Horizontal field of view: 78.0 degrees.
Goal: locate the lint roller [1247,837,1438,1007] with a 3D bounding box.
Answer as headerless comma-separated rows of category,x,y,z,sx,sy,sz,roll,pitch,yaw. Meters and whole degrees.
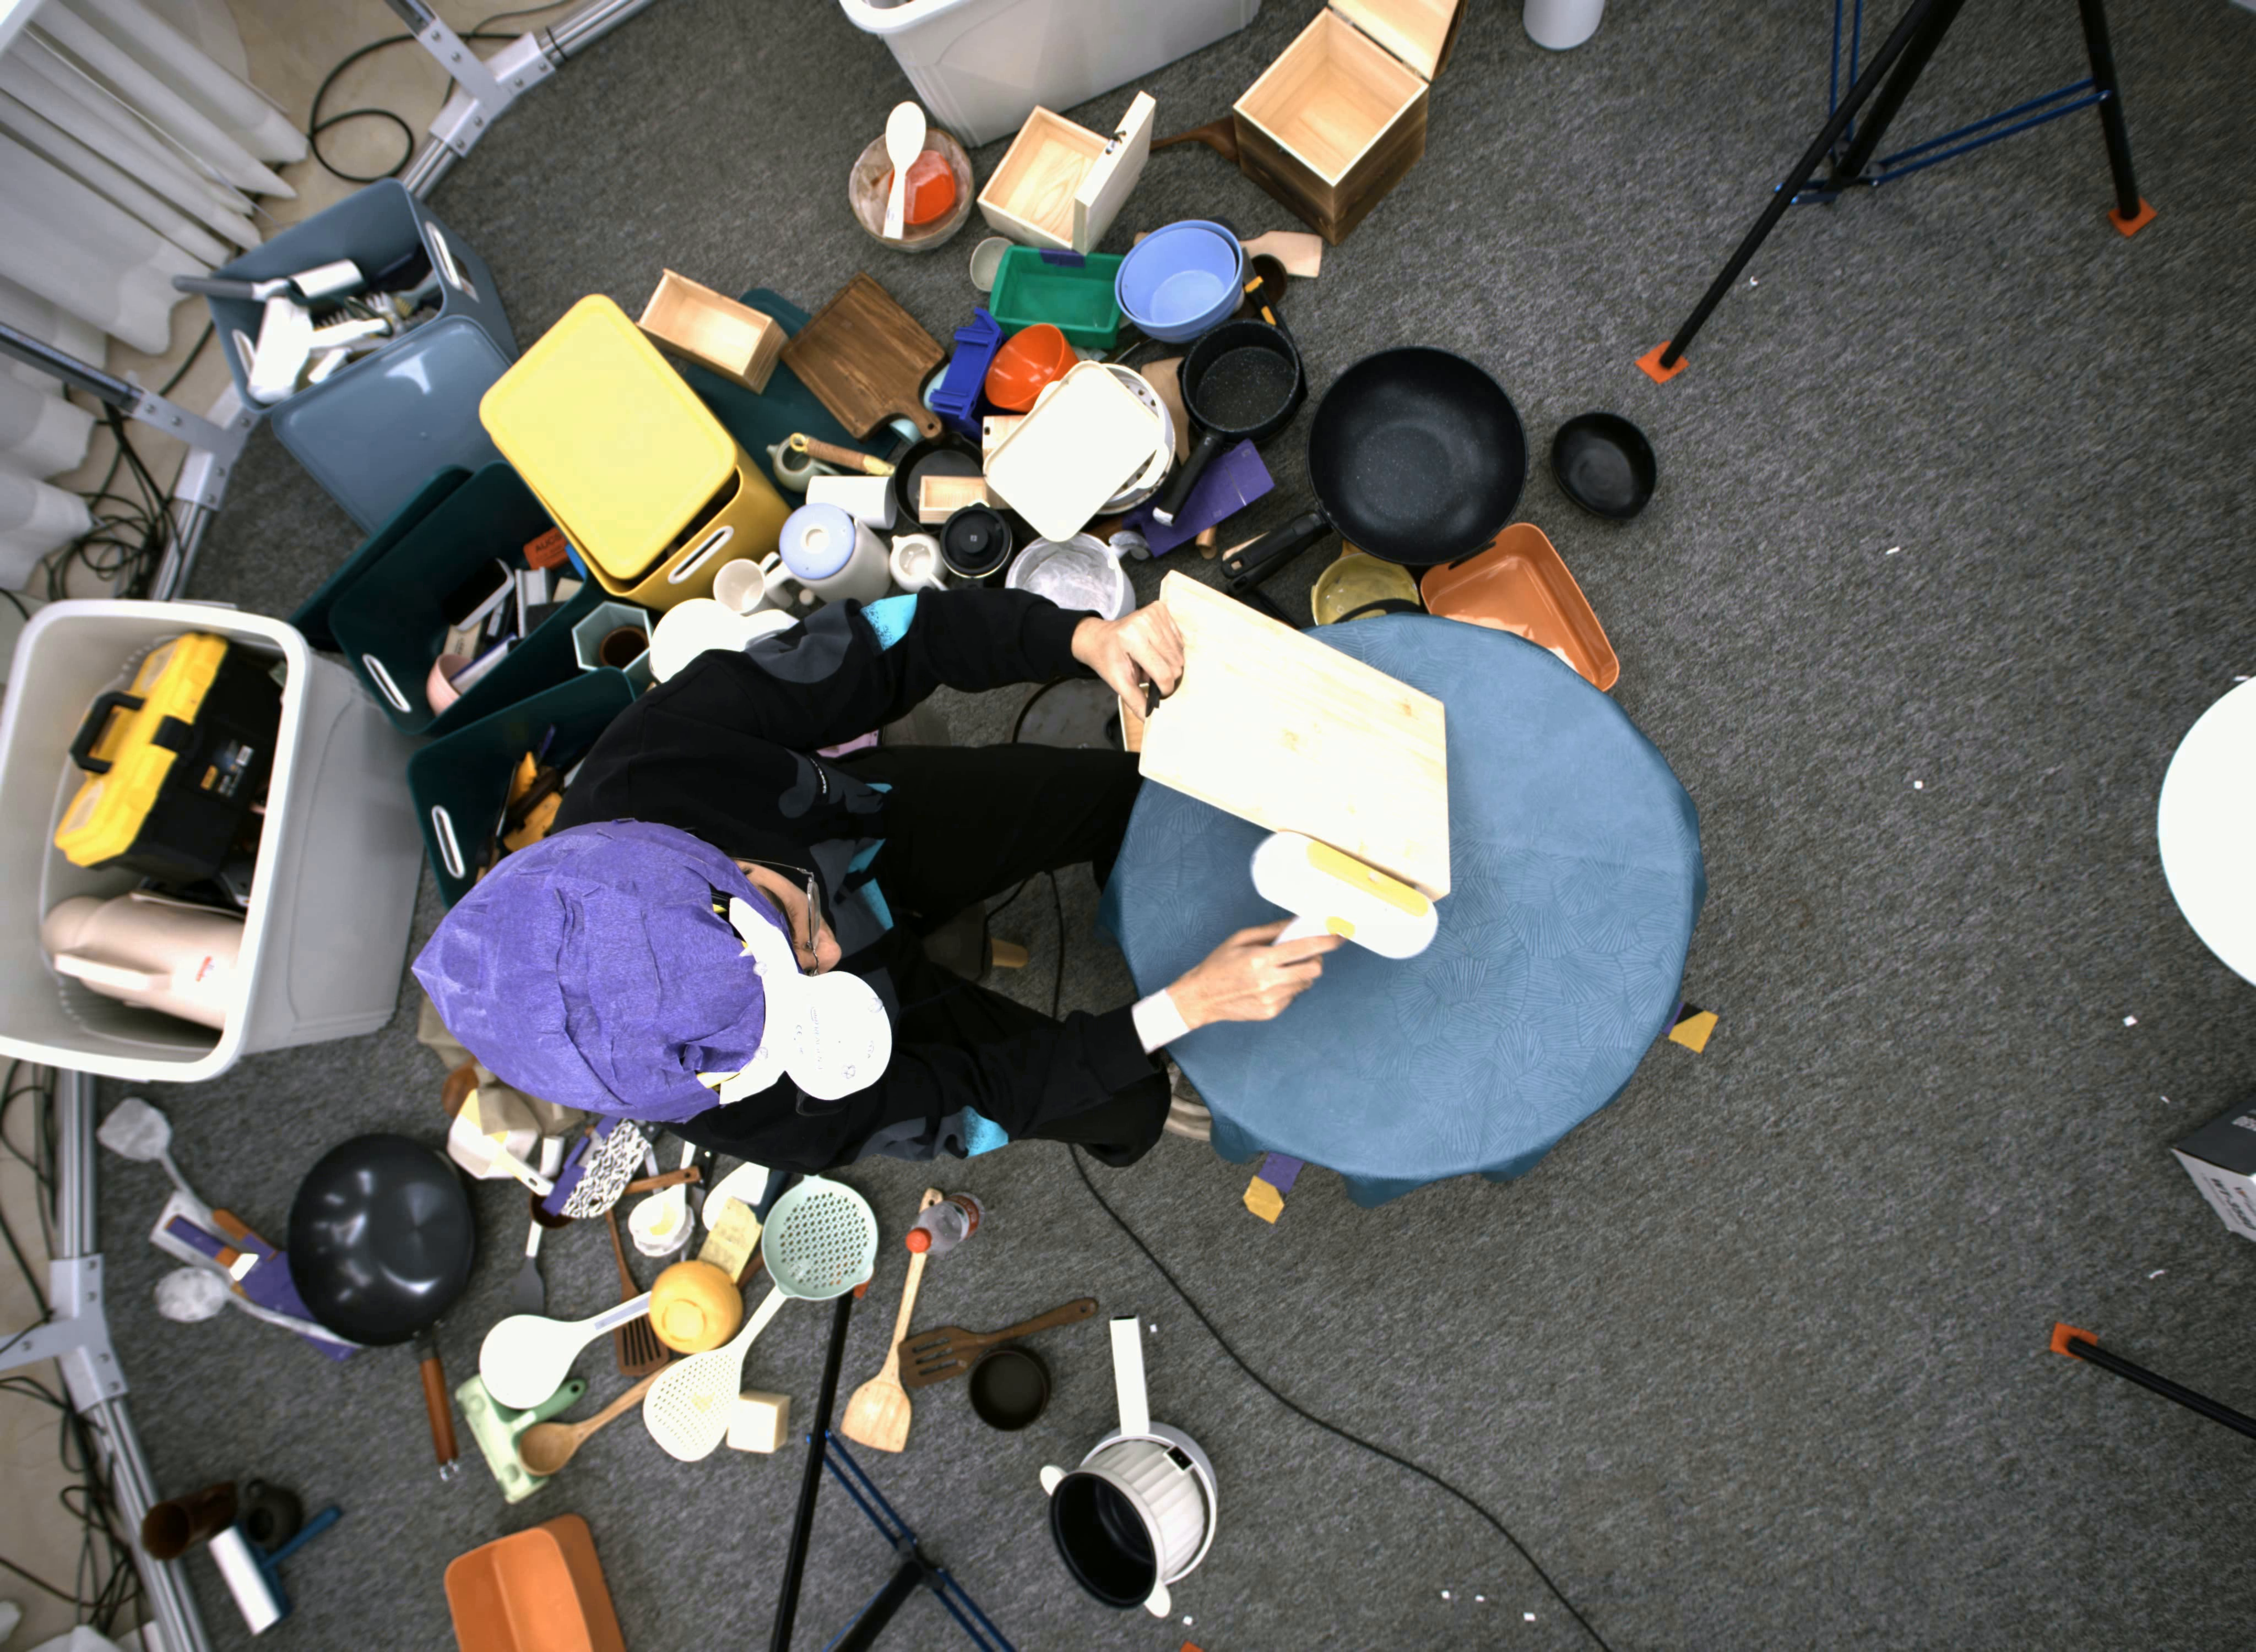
lint roller,0.176,0.105,1.331,0.193,0.197,0.072,20,48,-21

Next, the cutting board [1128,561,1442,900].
cutting board,0.164,-0.091,1.326,0.349,0.024,0.244,21,55,-22
